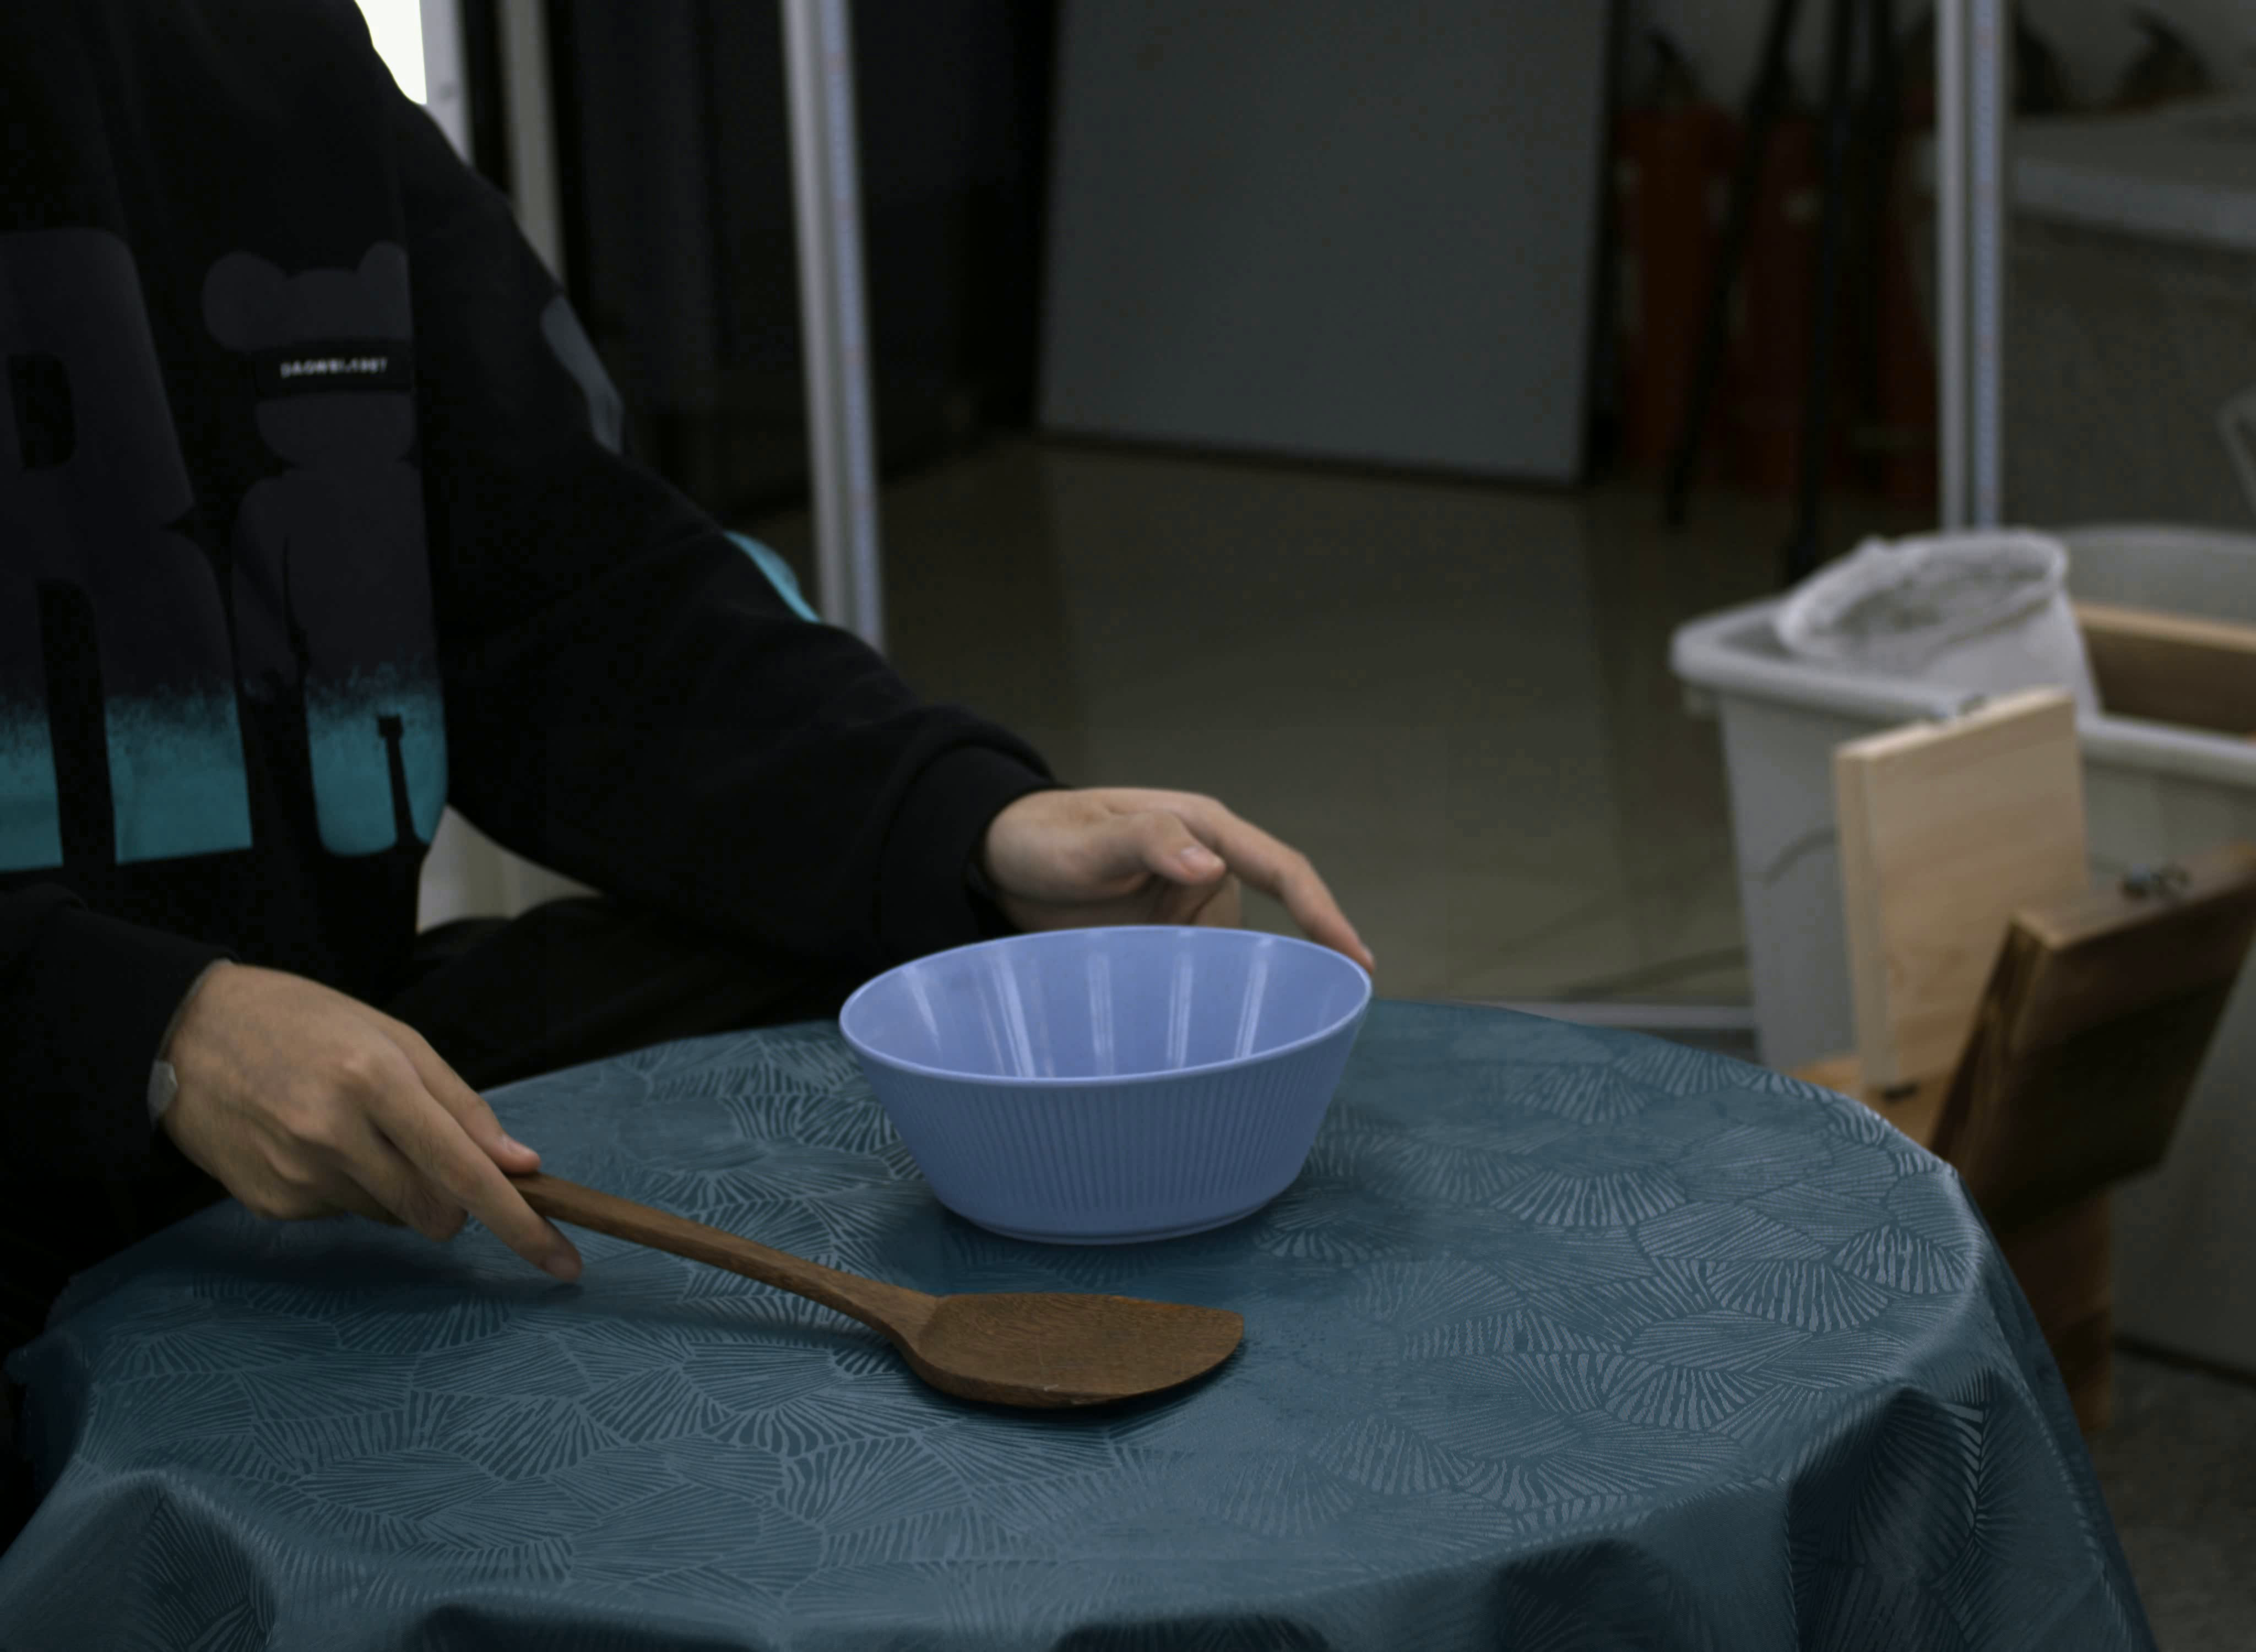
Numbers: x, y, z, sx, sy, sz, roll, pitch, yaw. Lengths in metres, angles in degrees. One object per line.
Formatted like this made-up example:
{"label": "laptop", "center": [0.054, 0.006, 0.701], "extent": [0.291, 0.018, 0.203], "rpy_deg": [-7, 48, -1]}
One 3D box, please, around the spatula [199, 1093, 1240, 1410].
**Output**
{"label": "spatula", "center": [-0.141, 0.128, 1.683], "extent": [0.388, 0.016, 0.094], "rpy_deg": [13, 18, 31]}

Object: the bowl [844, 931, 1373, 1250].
{"label": "bowl", "center": [-0.004, 0.089, 1.760], "extent": [0.174, 0.071, 0.176], "rpy_deg": [-5, 13, 0]}
